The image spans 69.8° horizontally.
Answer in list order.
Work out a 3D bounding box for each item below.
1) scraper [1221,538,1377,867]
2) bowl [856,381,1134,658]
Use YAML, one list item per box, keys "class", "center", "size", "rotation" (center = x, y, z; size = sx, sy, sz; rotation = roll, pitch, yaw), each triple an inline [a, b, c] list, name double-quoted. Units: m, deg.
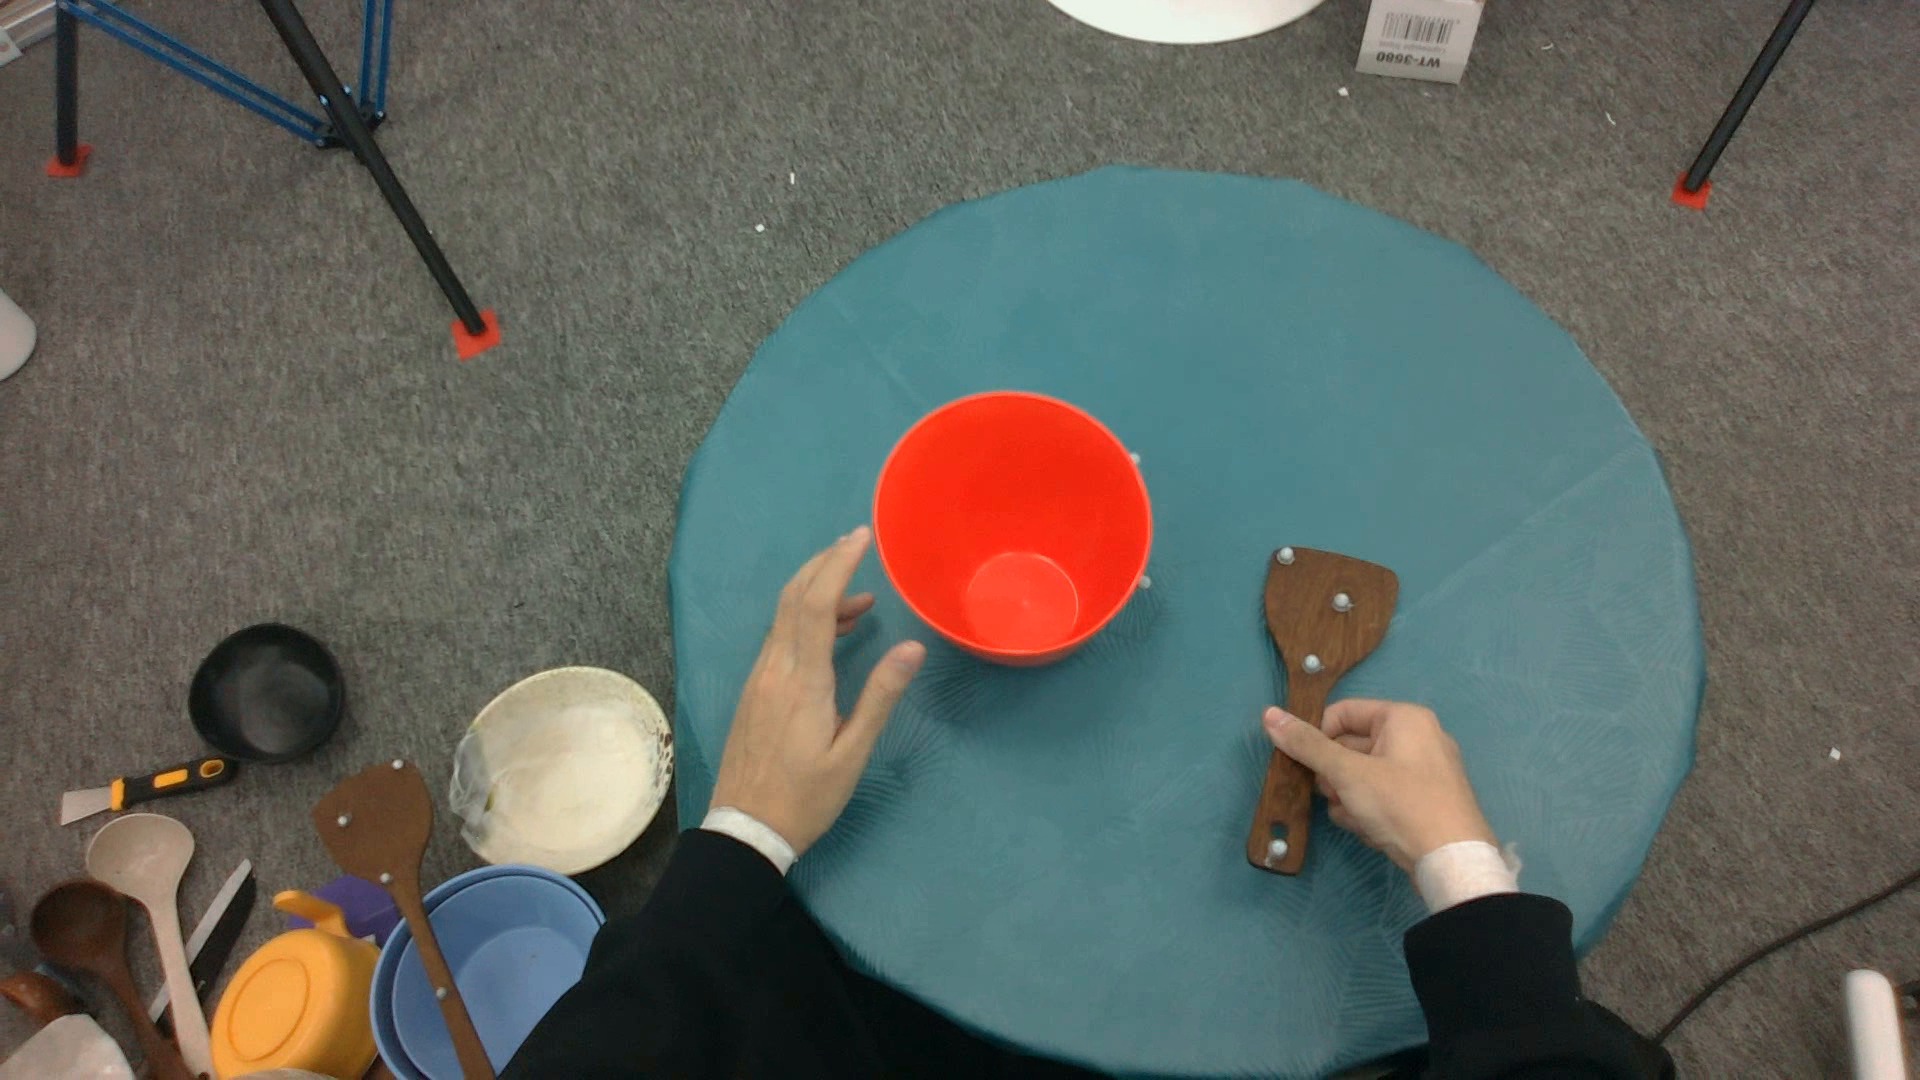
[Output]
- class: "scraper"
  center: [0.176, 0.083, 0.749]
  size: [0.076, 0.011, 0.212]
  rotation: [15, 52, 11]
- class: "bowl"
  center: [0.019, 0.001, 0.762]
  size: [0.148, 0.104, 0.148]
  rotation: [0, 63, 0]
